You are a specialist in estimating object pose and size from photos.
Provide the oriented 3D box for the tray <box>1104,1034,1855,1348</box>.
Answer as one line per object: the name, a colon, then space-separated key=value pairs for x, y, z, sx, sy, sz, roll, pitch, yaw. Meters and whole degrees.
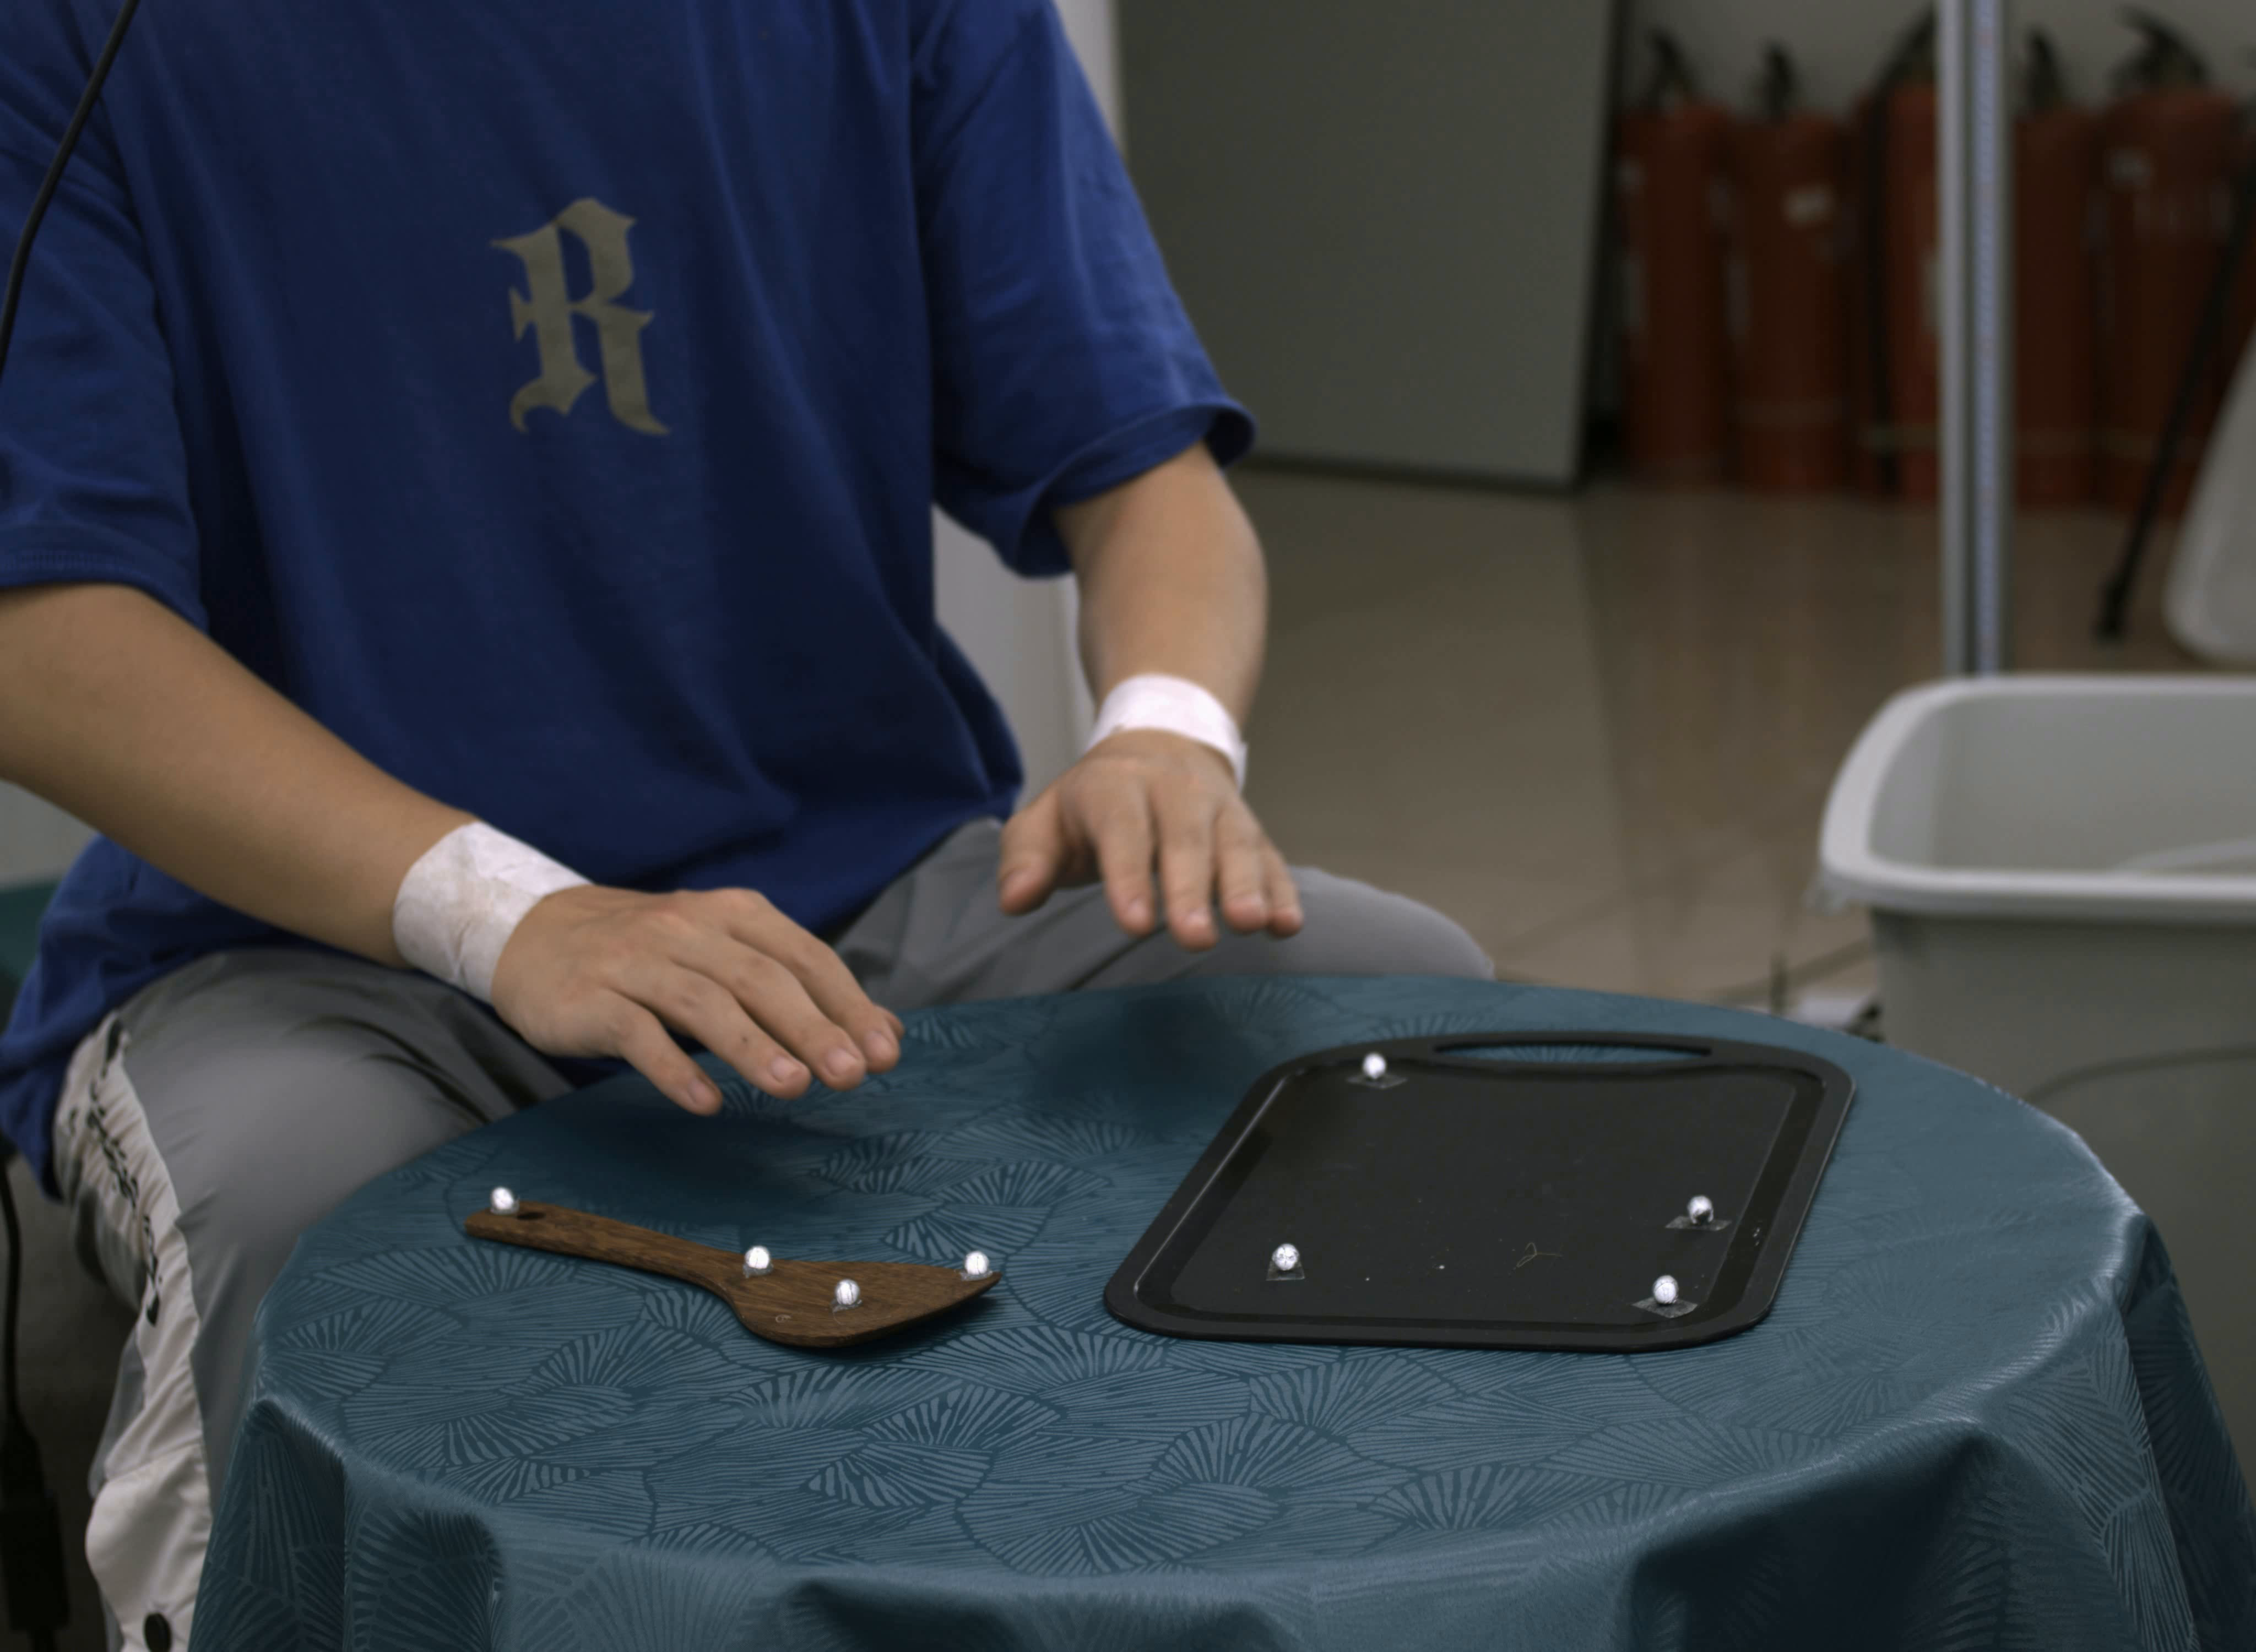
tray: x=0.122 y=0.113 z=1.756 sx=0.210 sy=0.010 sz=0.323 roll=0 pitch=14 yaw=15

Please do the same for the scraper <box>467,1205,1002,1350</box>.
scraper: x=-0.133 y=0.140 z=1.713 sx=0.213 sy=0.011 sz=0.074 roll=8 pitch=18 yaw=43
